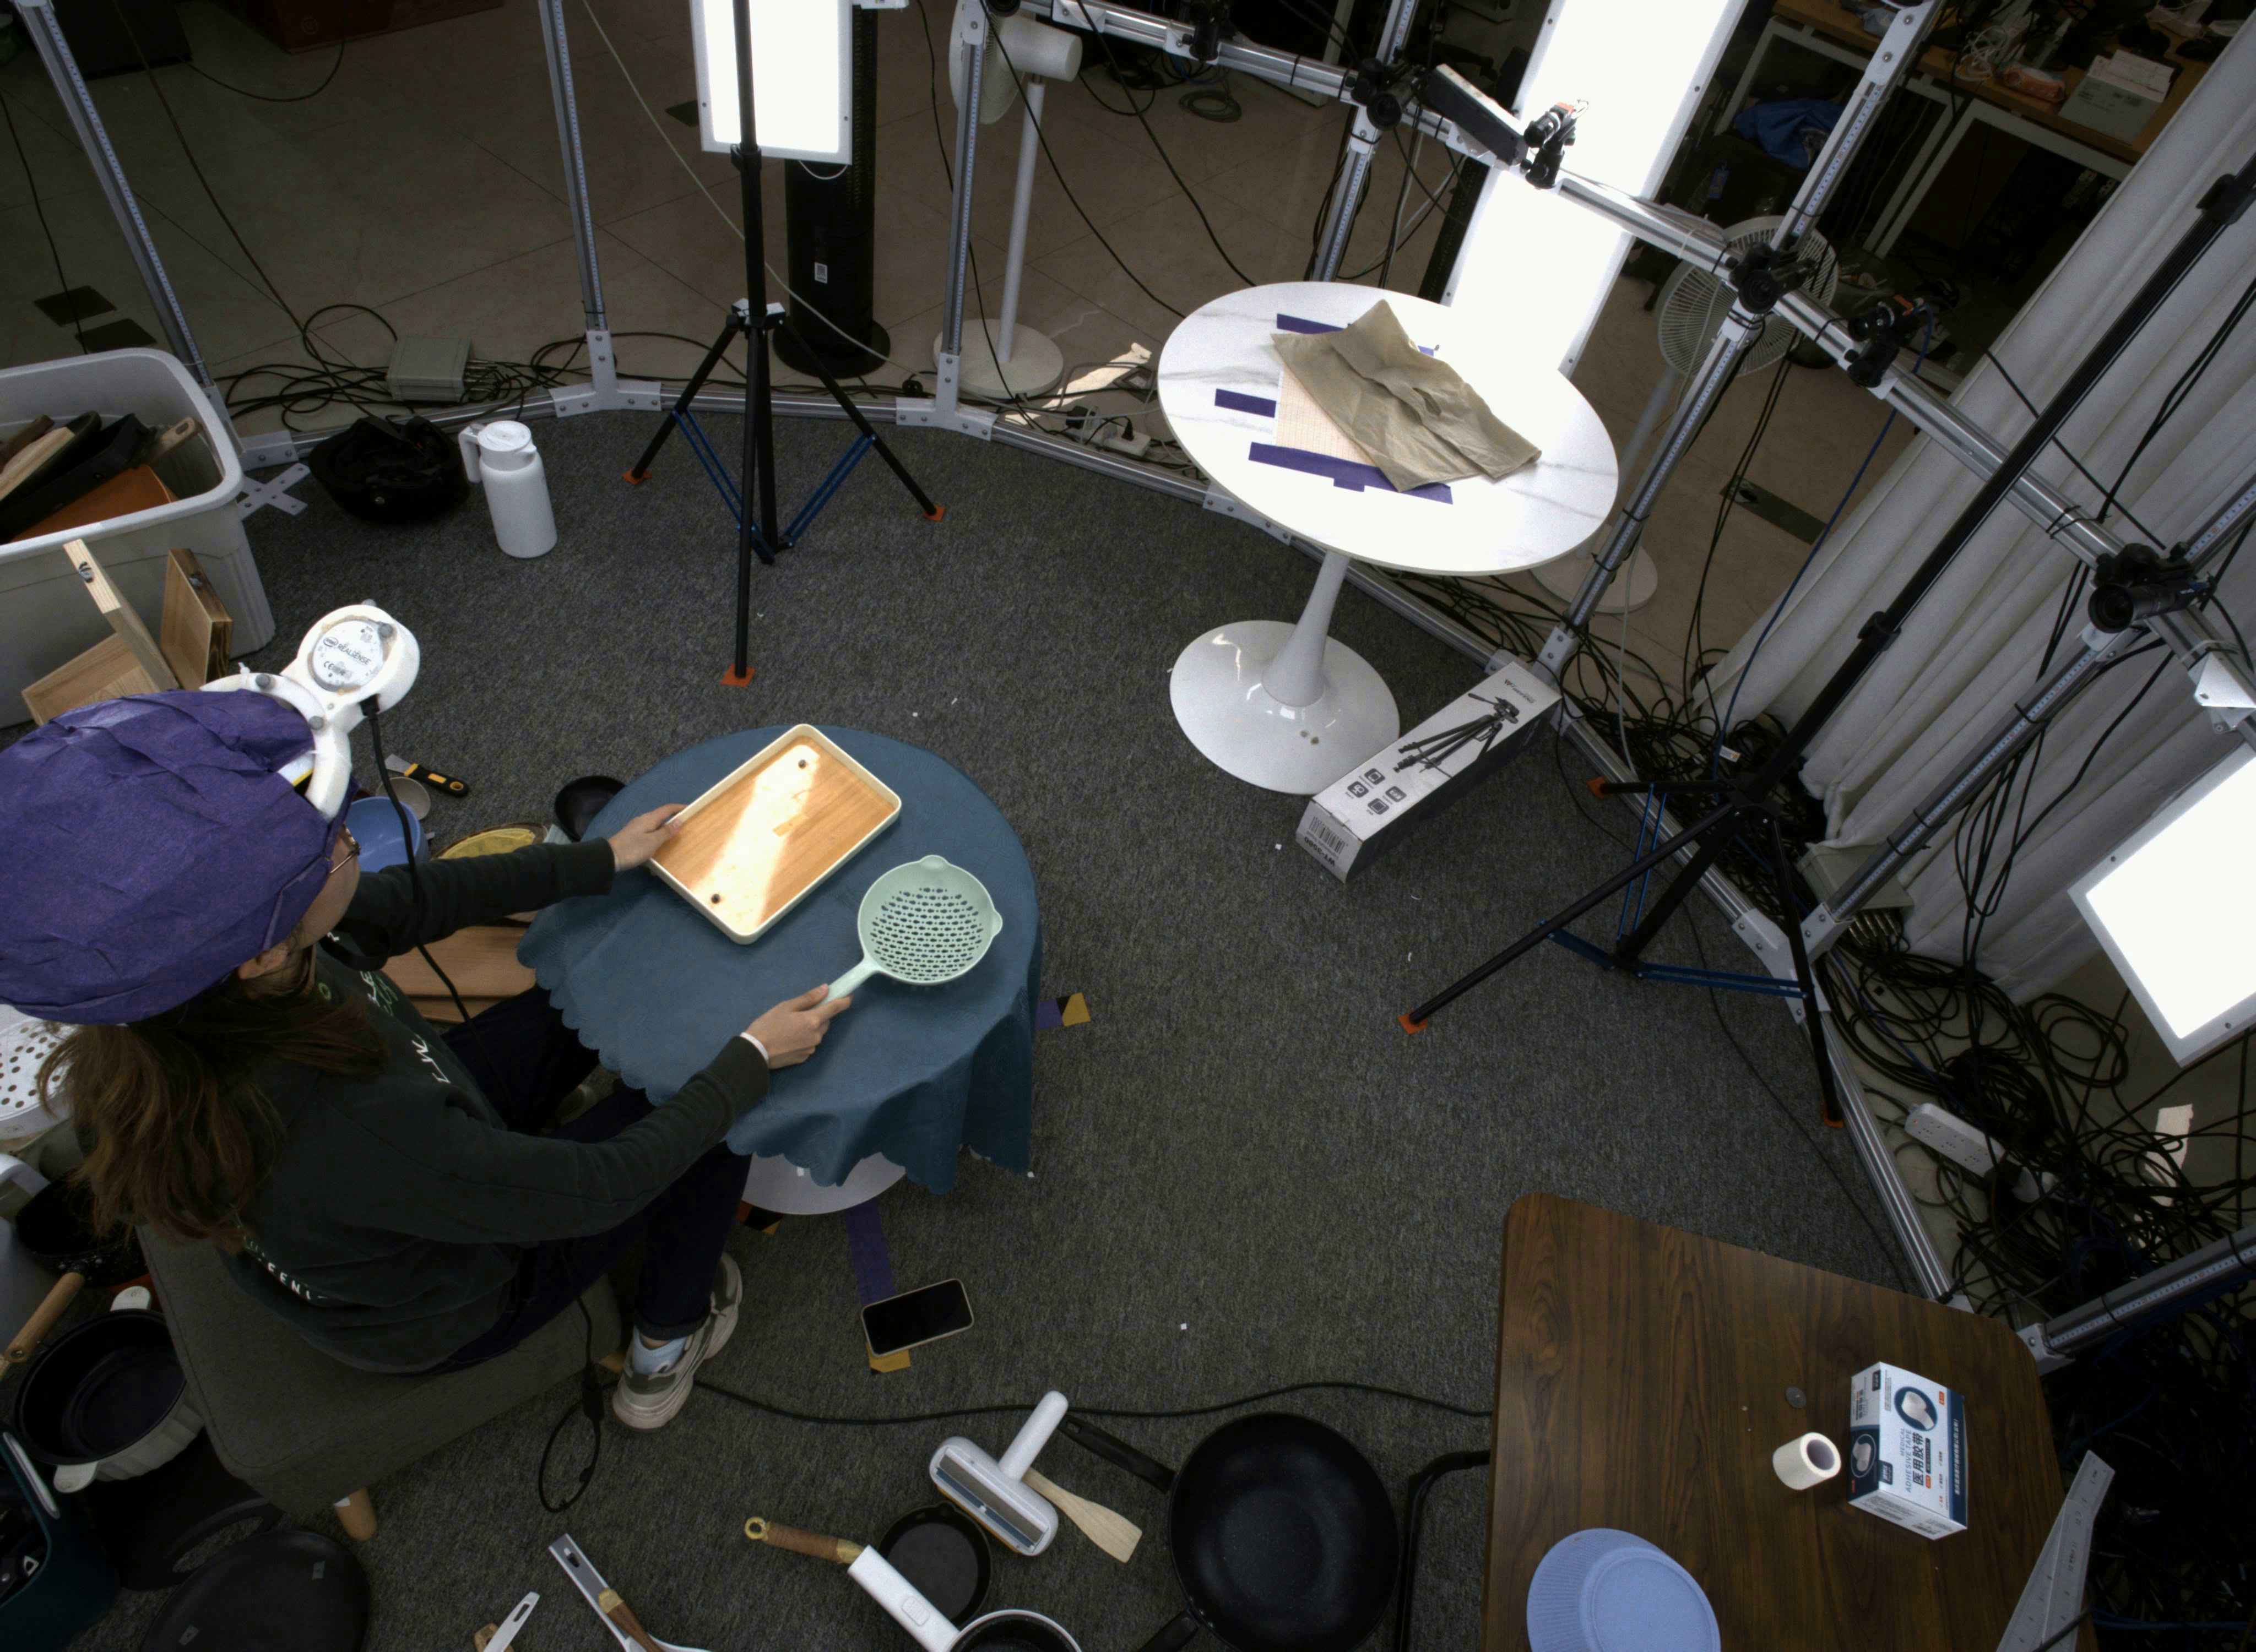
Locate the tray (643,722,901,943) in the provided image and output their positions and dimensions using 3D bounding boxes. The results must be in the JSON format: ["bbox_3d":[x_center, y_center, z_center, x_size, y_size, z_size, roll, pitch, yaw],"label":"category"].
[{"bbox_3d":[-0.459,0.001,1.685,0.189,0.028,0.300,39,53,7],"label":"tray"}]

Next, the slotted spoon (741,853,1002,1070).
[{"bbox_3d":[-0.319,0.173,1.581,0.166,0.076,0.360,44,53,15],"label":"slotted spoon"}]
